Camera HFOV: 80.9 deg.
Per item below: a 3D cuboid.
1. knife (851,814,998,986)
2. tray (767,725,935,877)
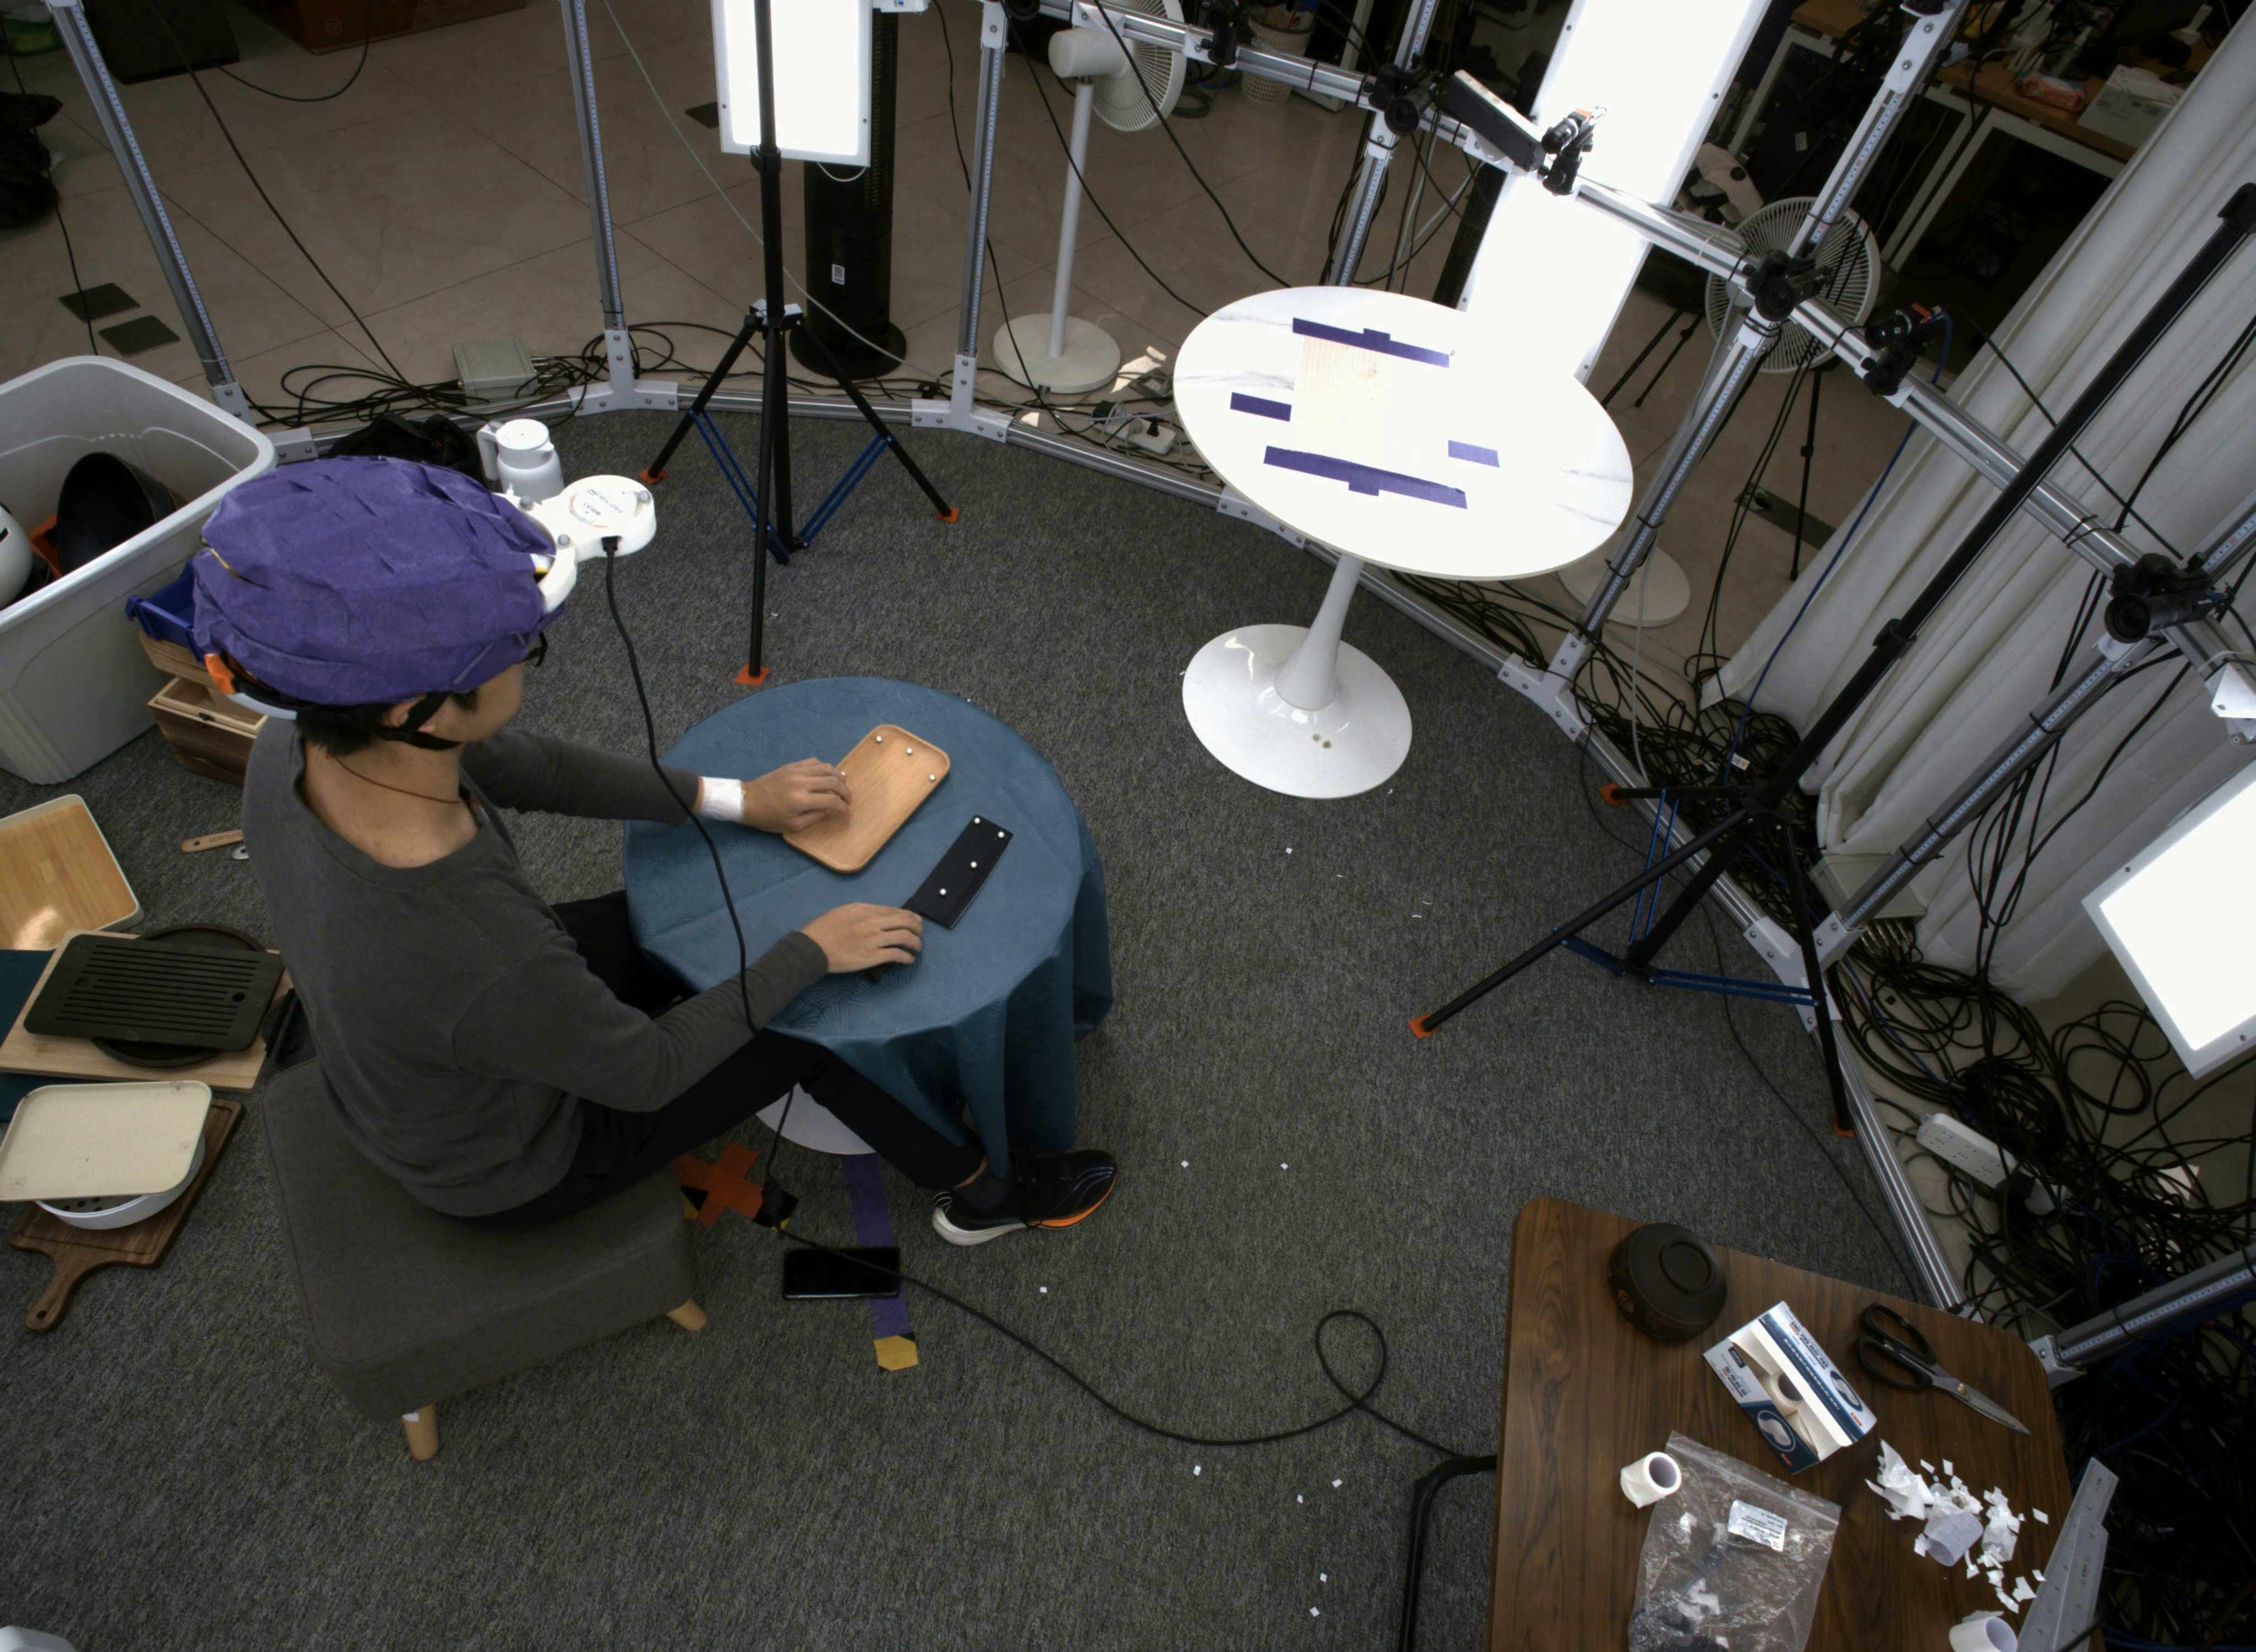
[{"bbox_3d":[-0.265,0.093,1.699,0.080,0.021,0.301,31,51,6],"label":"knife"},{"bbox_3d":[-0.374,-0.037,1.766,0.128,0.023,0.249,28,53,10],"label":"tray"}]
